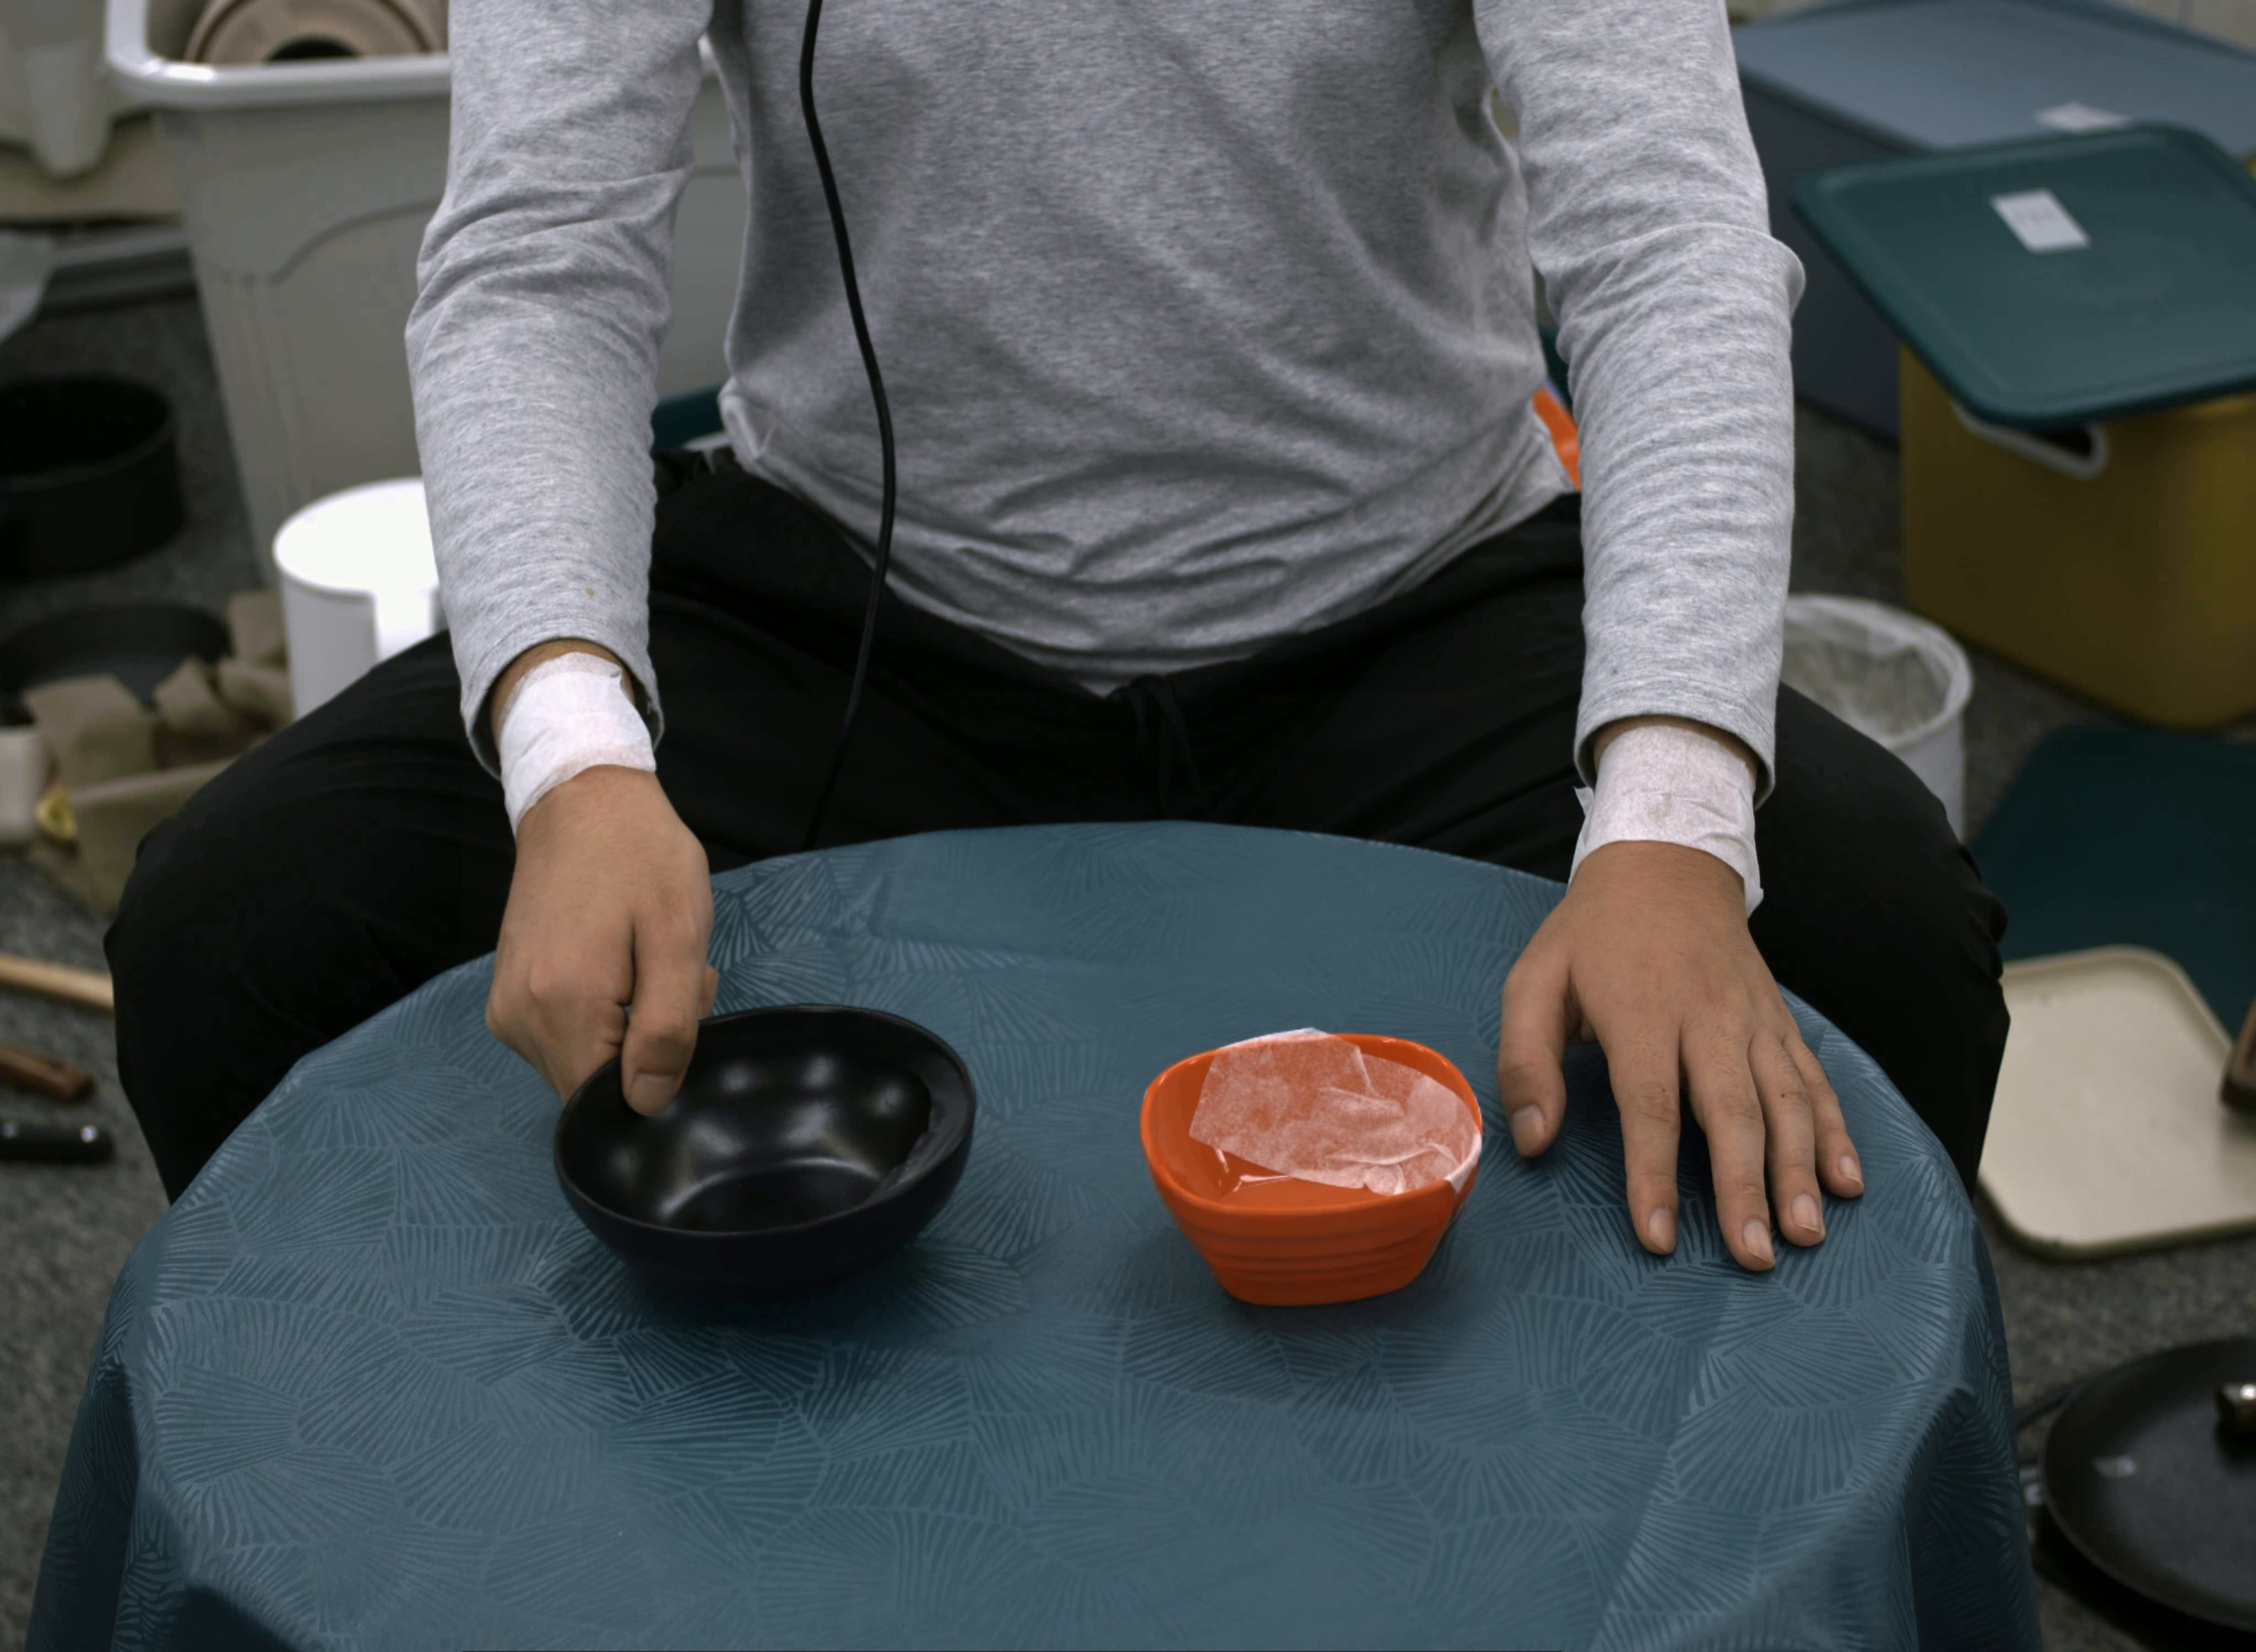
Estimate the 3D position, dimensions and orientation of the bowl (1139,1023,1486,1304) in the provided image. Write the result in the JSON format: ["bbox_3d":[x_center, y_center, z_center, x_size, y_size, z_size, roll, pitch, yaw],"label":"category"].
[{"bbox_3d":[0.060,0.114,1.813,0.118,0.051,0.121,-3,29,2],"label":"bowl"}]

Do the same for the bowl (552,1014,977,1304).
[{"bbox_3d":[-0.115,0.116,1.825,0.139,0.049,0.142,-5,26,3],"label":"bowl"}]
